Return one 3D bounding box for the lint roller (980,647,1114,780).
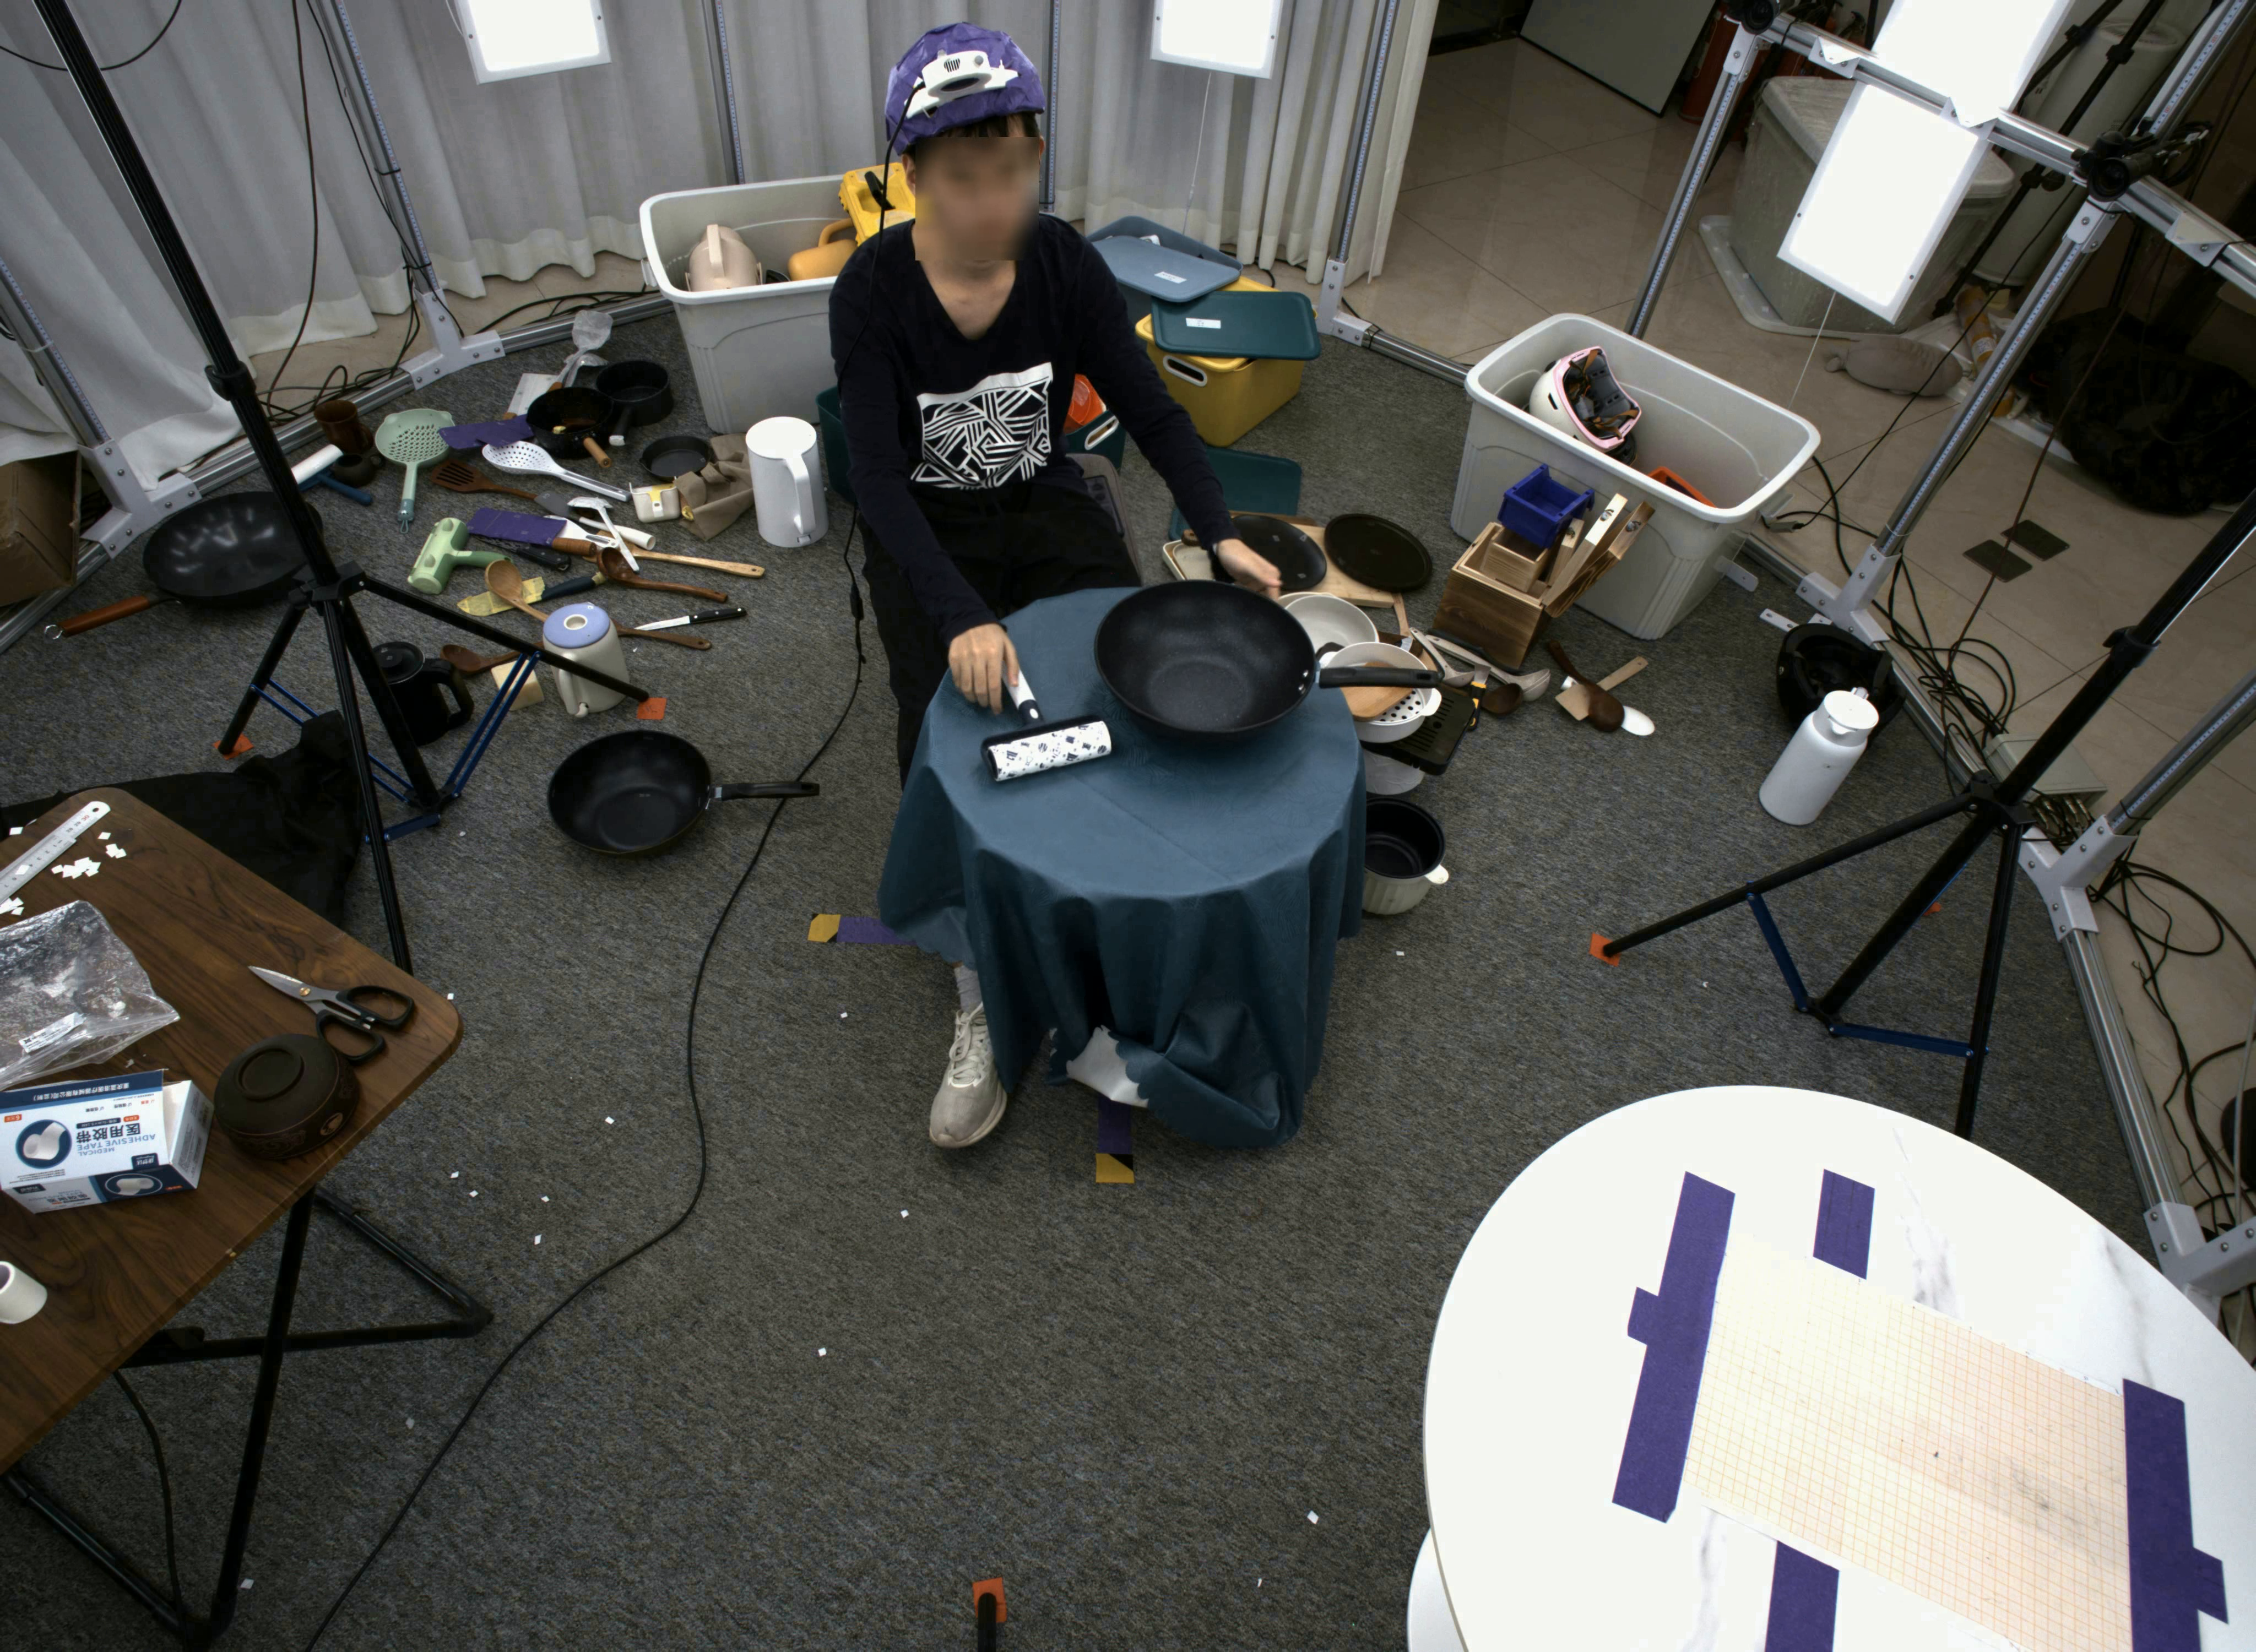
[{"bbox_3d":[-0.144,-0.173,1.781,0.176,0.049,0.253,-16,50,-16],"label":"lint roller"}]

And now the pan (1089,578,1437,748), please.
[{"bbox_3d":[0.181,-0.208,1.790,0.477,0.109,0.317,10,51,5],"label":"pan"}]
